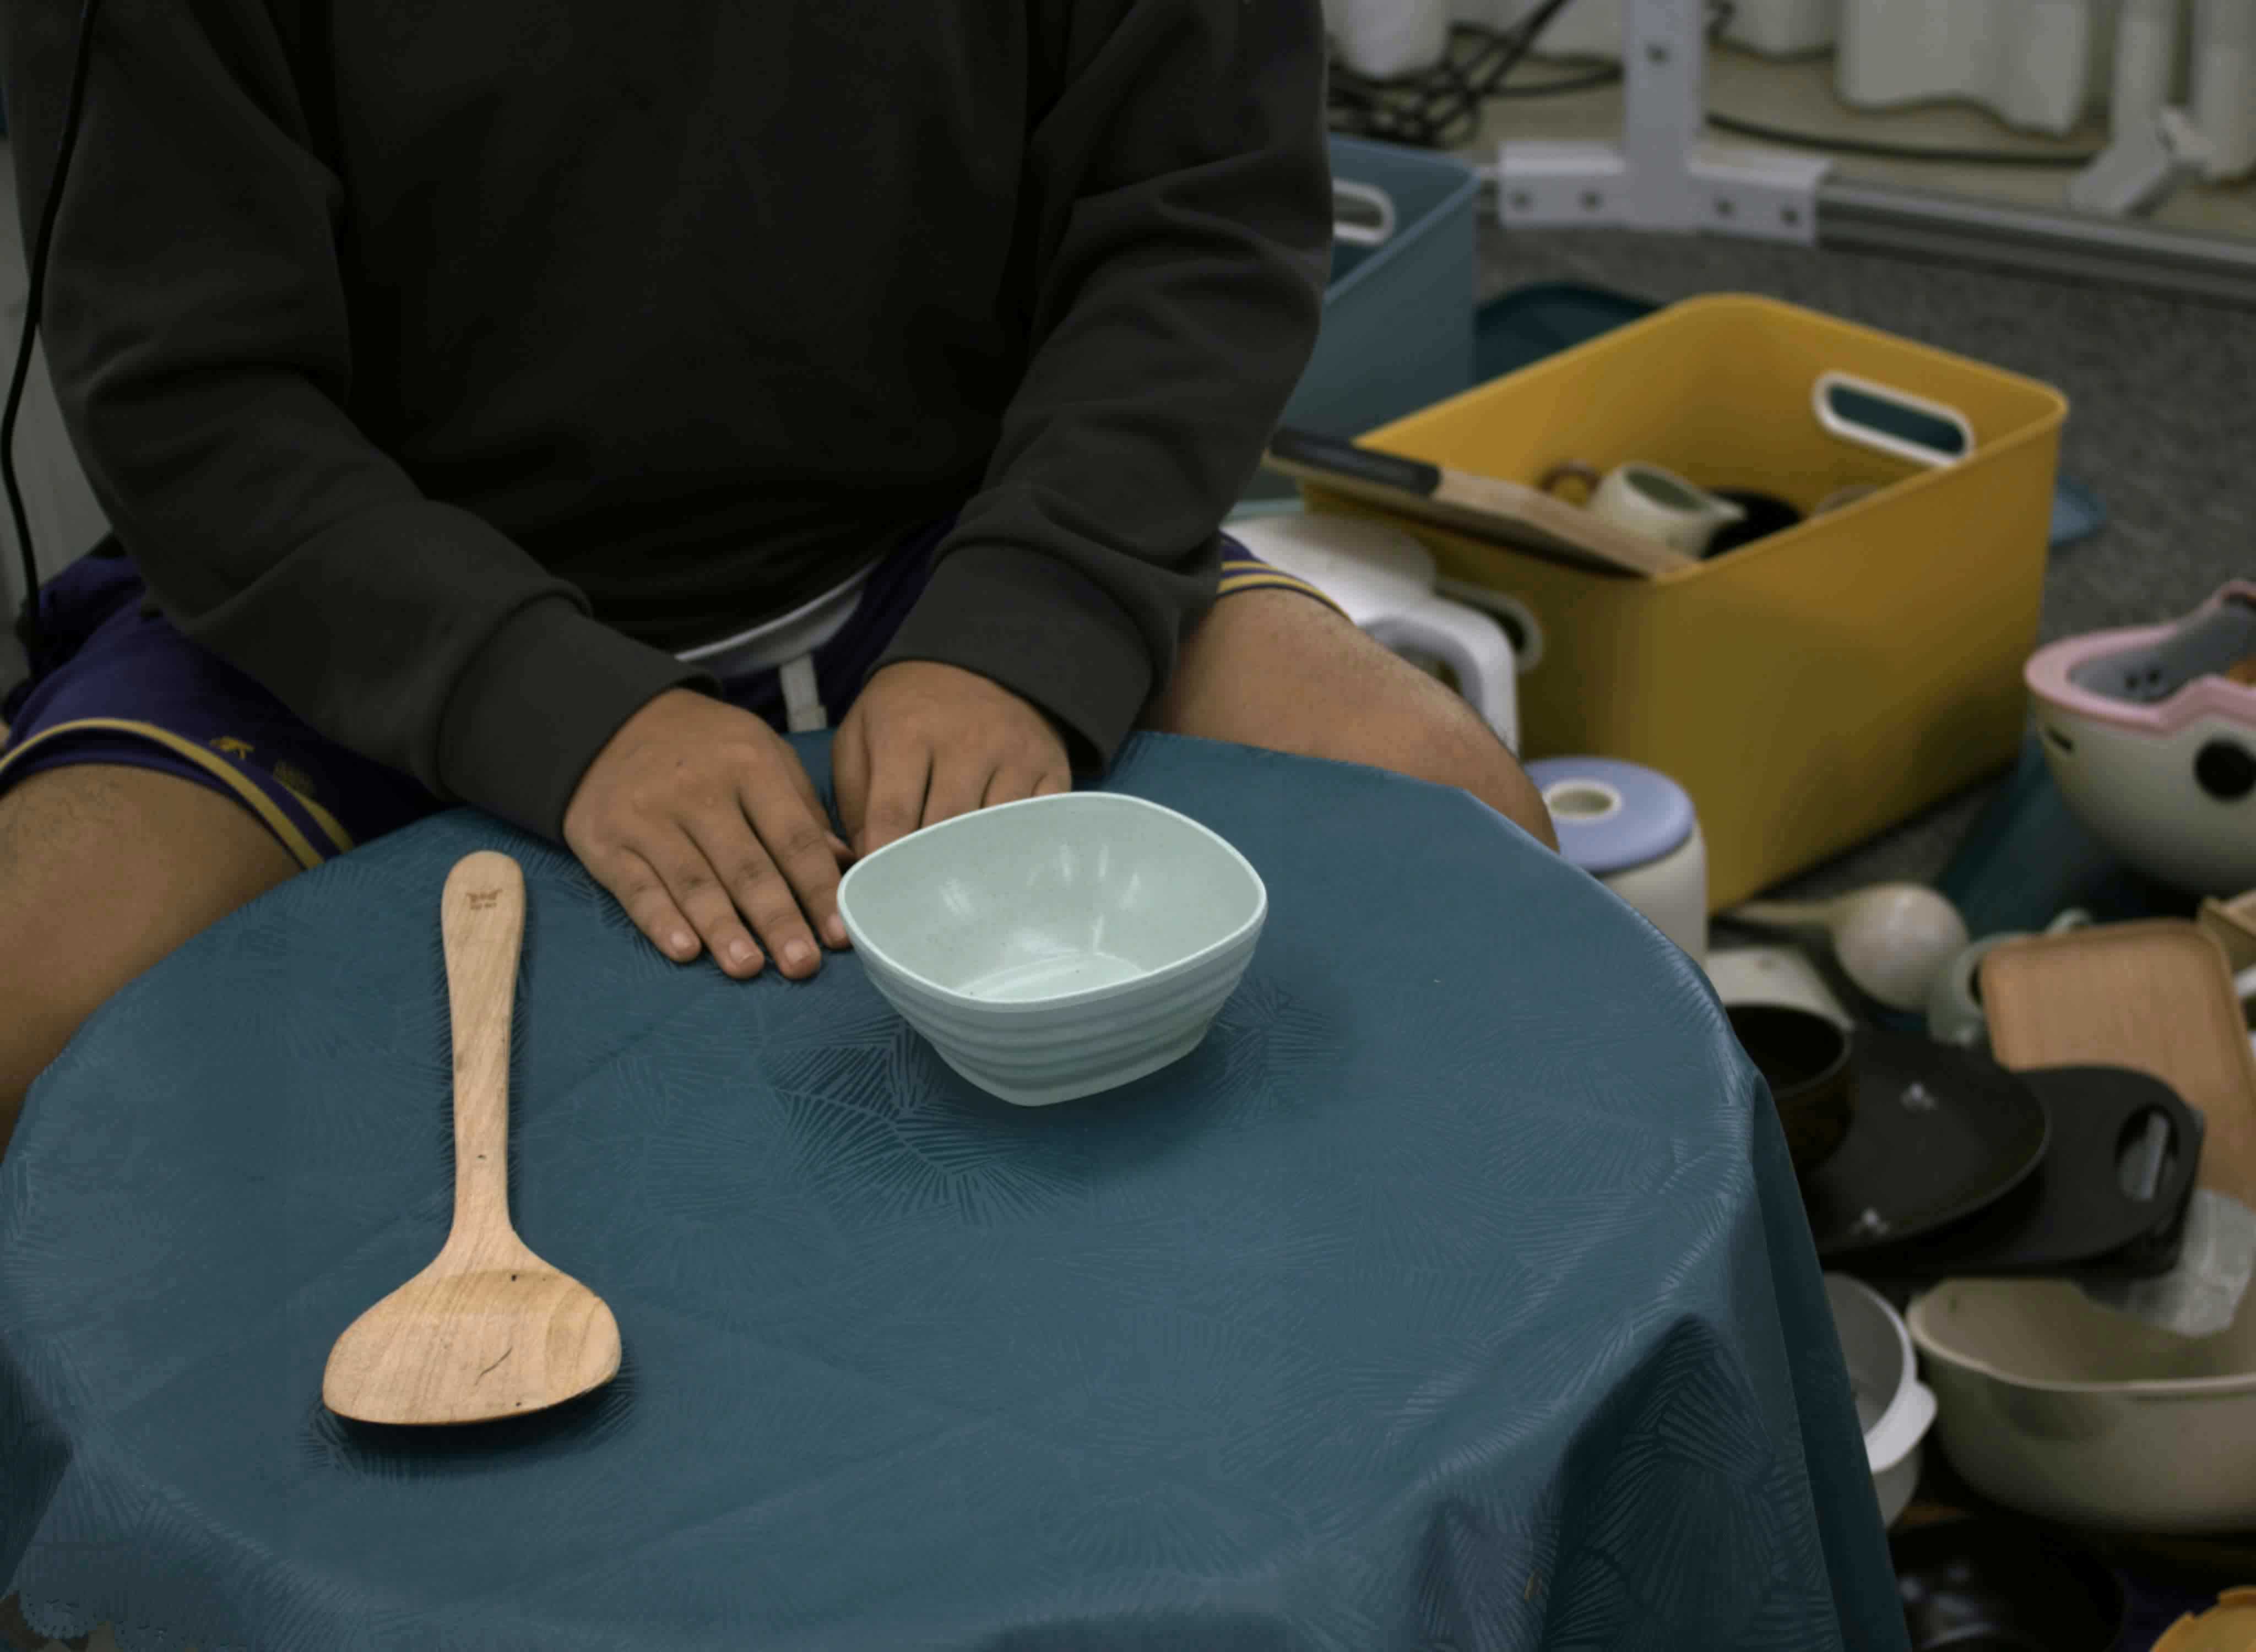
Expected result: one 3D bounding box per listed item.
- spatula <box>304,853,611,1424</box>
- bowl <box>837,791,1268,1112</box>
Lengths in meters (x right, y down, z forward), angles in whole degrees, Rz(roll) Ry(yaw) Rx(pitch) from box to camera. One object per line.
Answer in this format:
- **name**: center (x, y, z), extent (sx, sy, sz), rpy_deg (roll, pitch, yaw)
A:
- **spatula**: center (-0.226, 0.100, 1.908), extent (0.095, 0.018, 0.396), rpy_deg (-3, 28, -5)
- **bowl**: center (-0.025, 0.049, 1.946), extent (0.151, 0.058, 0.154), rpy_deg (-1, 29, 1)
